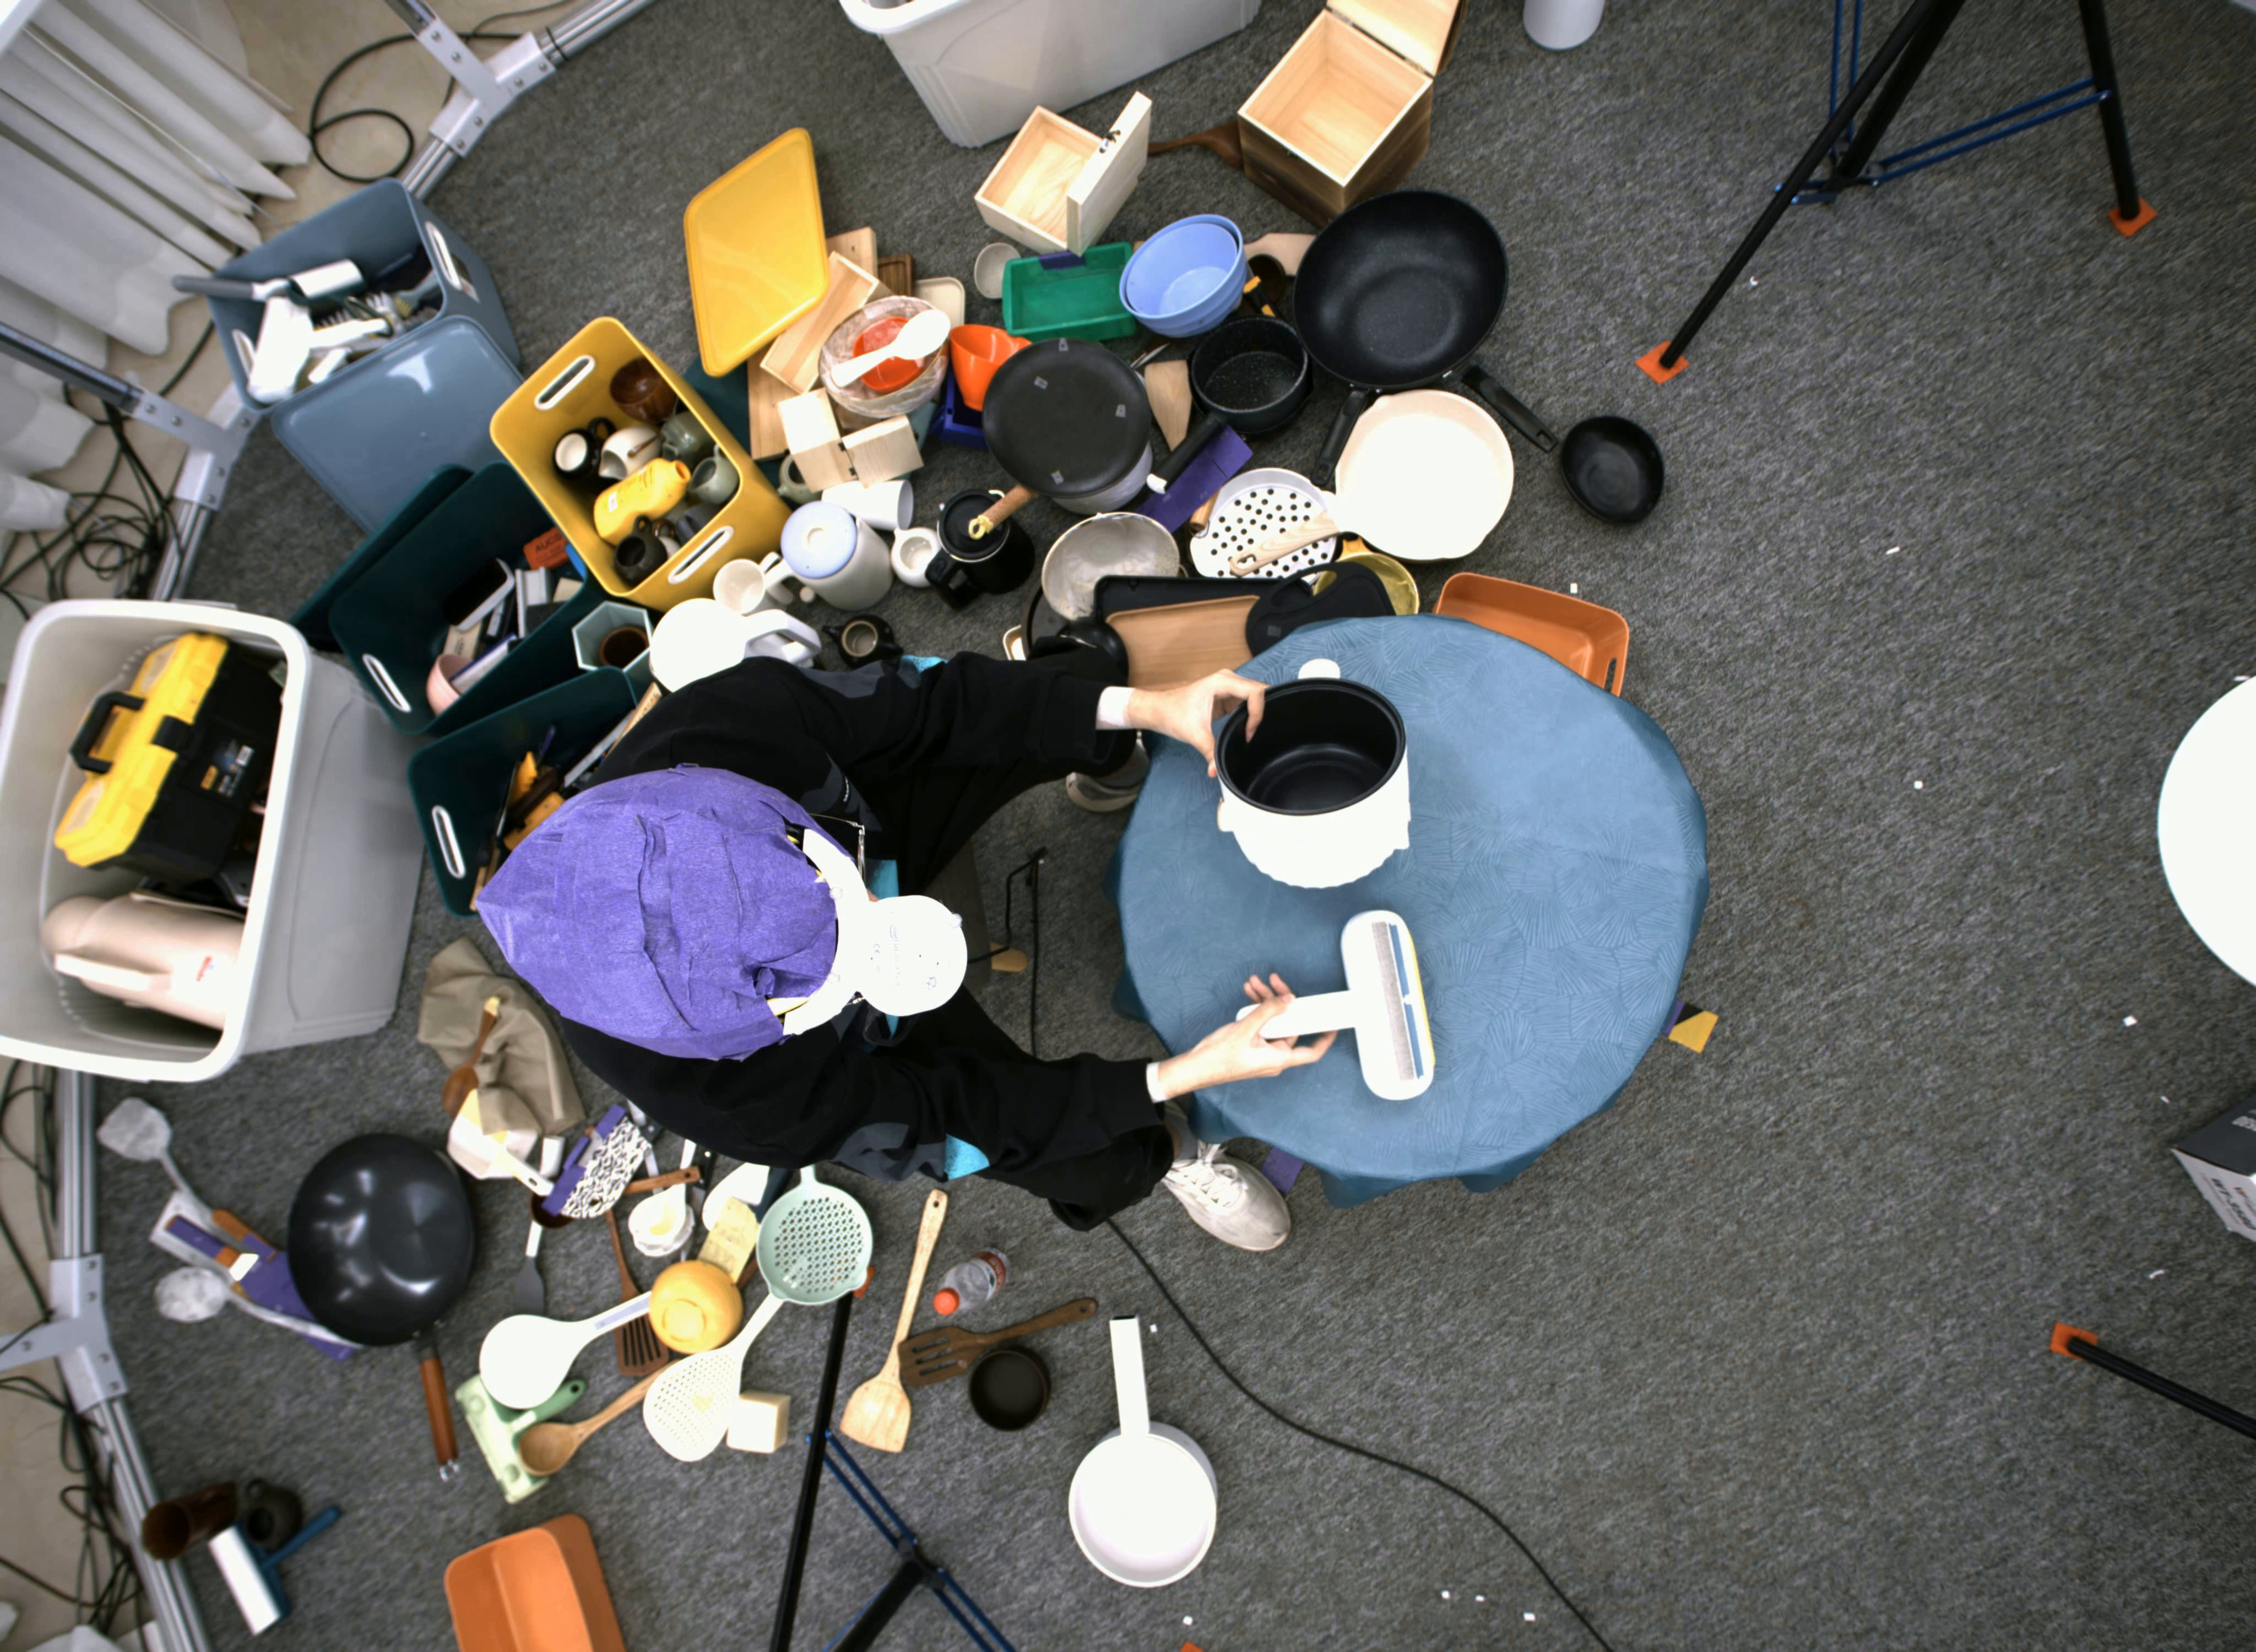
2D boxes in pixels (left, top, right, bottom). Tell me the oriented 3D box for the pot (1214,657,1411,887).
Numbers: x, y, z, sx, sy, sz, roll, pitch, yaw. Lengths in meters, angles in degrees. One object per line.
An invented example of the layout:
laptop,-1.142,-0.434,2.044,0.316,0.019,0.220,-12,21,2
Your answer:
pot,0.177,-0.036,1.339,0.191,0.146,0.234,1,50,13

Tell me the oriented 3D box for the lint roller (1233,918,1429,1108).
lint roller,0.205,0.191,1.408,0.192,0.075,0.191,-2,83,-9
